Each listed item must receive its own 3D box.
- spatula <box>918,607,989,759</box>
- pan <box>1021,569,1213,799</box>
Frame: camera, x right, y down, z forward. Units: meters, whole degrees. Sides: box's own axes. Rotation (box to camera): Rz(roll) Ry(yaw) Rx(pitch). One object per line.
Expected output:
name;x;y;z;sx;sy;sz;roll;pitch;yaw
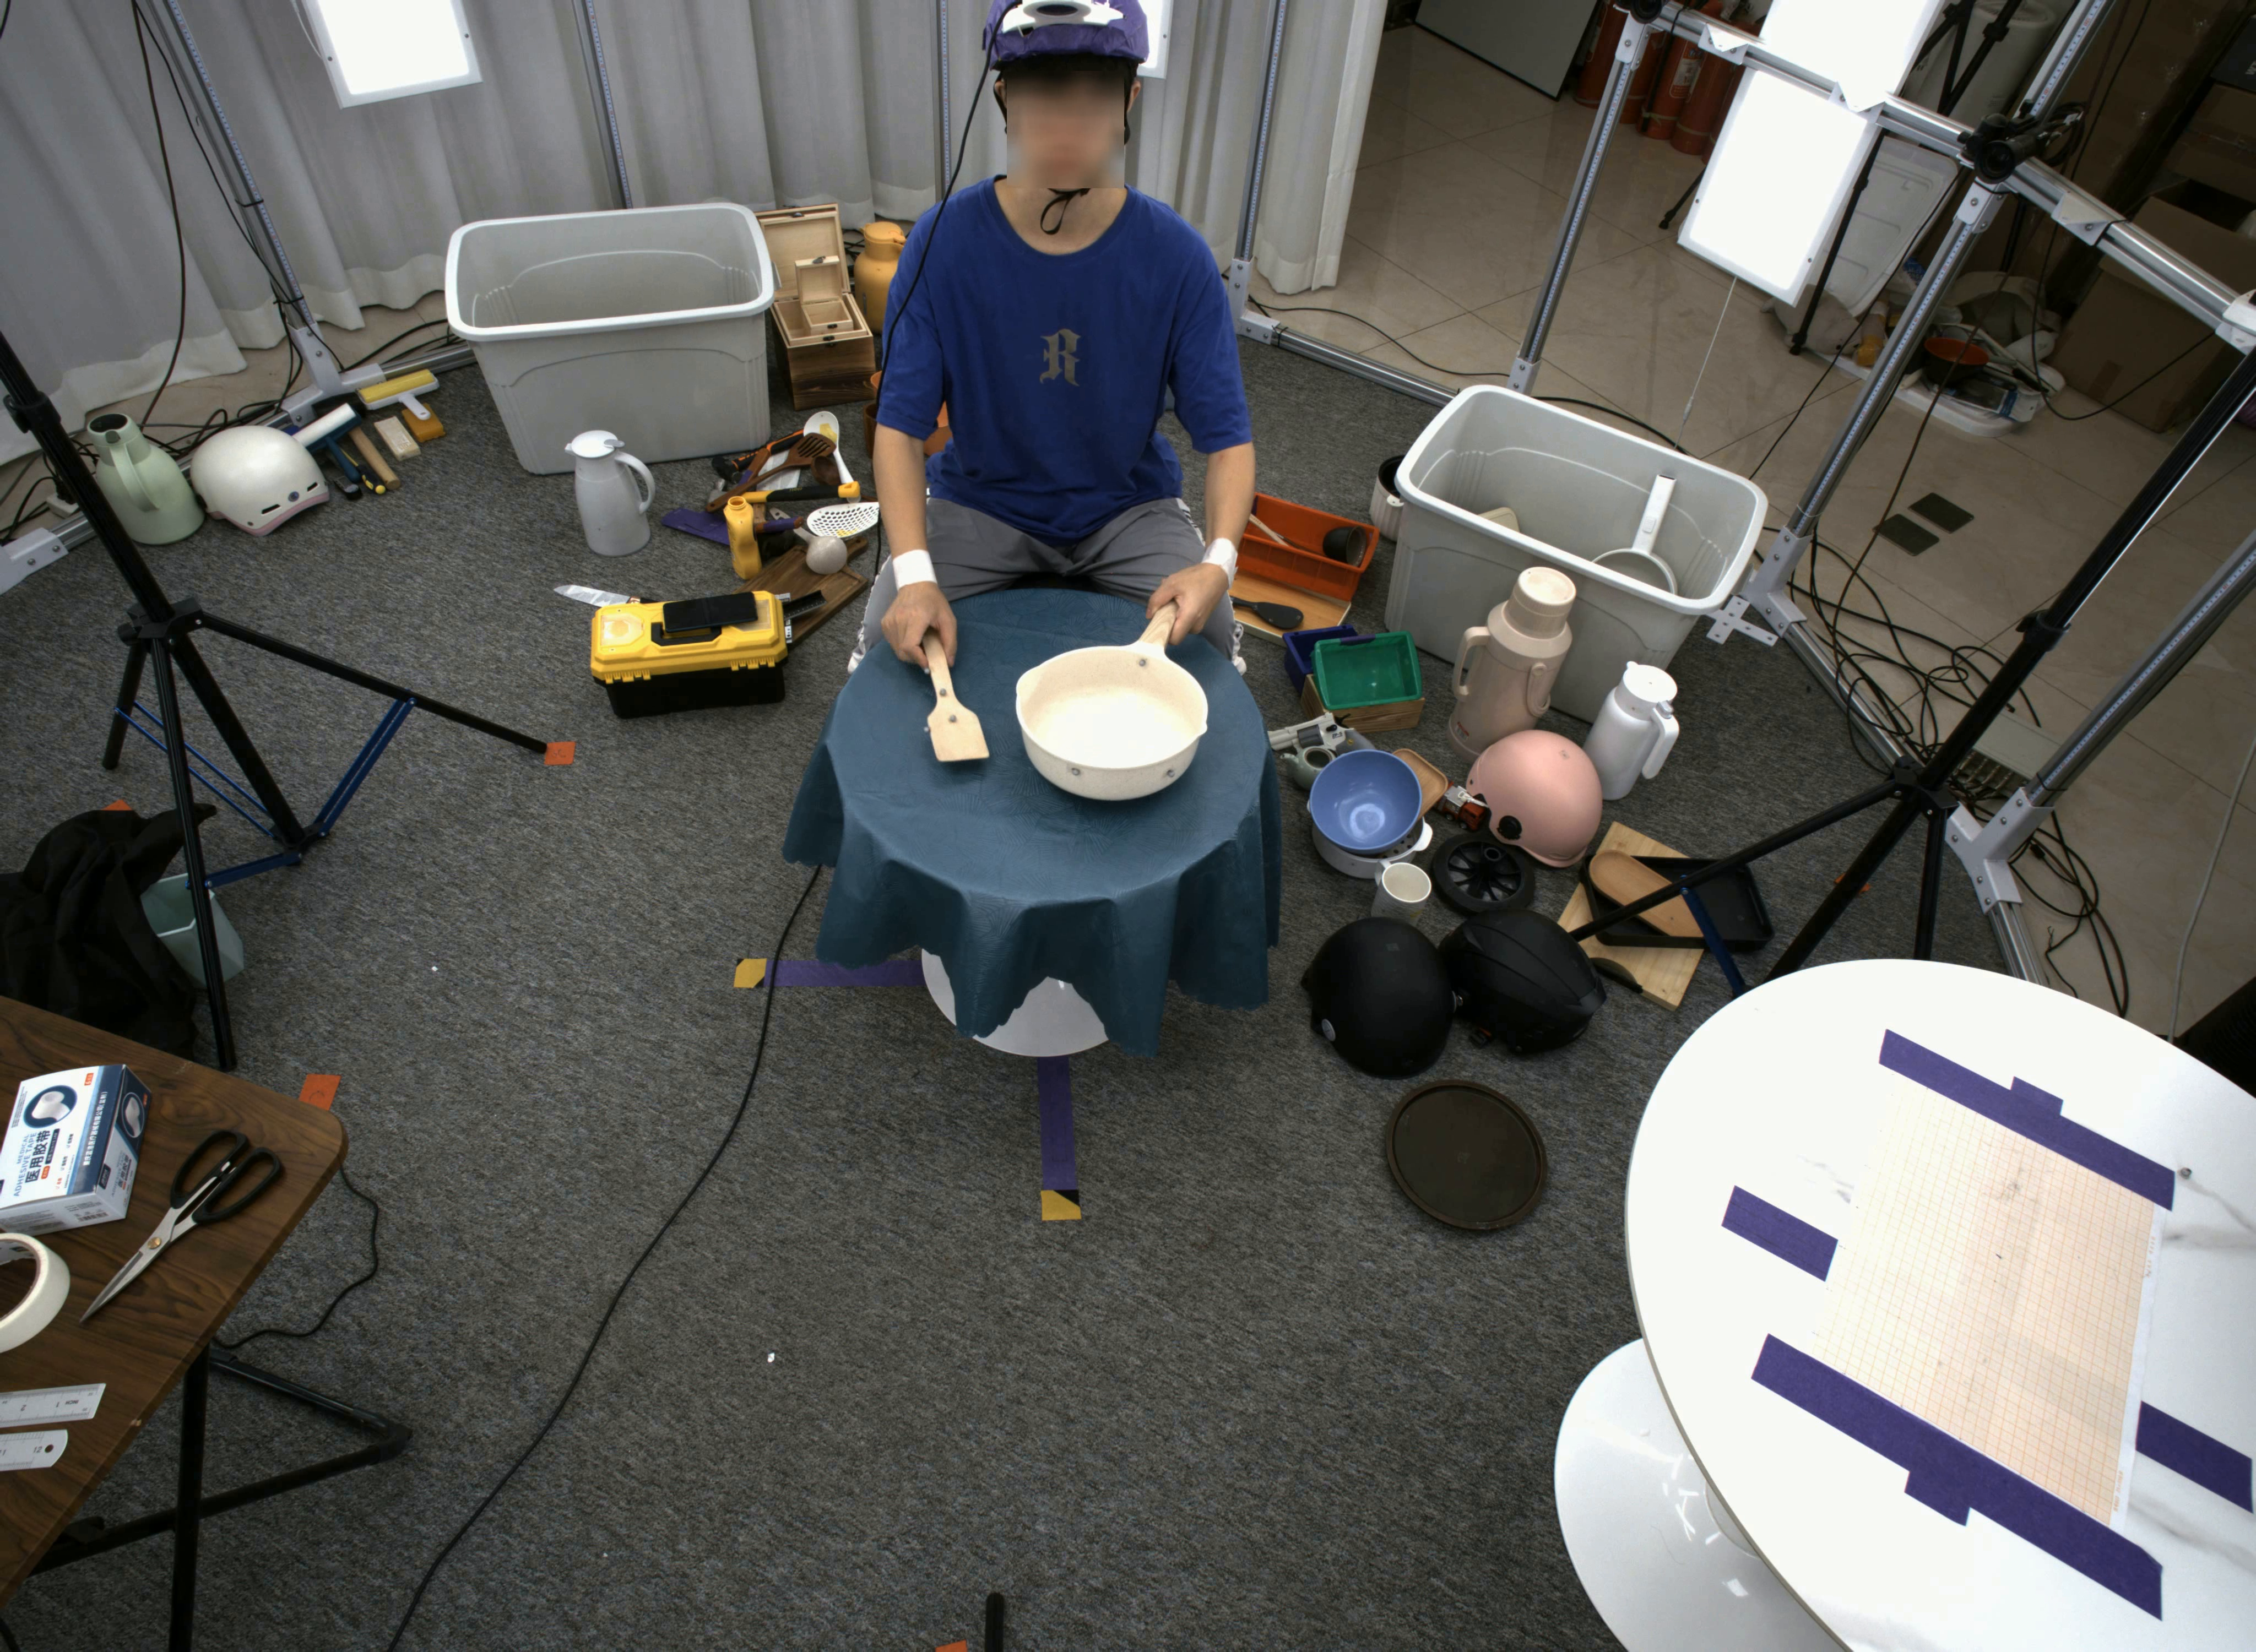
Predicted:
spatula;-0.256;-0.204;1.790;0.072;0.010;0.300;-7;52;-16
pan;0.016;-0.199;1.772;0.264;0.099;0.443;14;45;14
